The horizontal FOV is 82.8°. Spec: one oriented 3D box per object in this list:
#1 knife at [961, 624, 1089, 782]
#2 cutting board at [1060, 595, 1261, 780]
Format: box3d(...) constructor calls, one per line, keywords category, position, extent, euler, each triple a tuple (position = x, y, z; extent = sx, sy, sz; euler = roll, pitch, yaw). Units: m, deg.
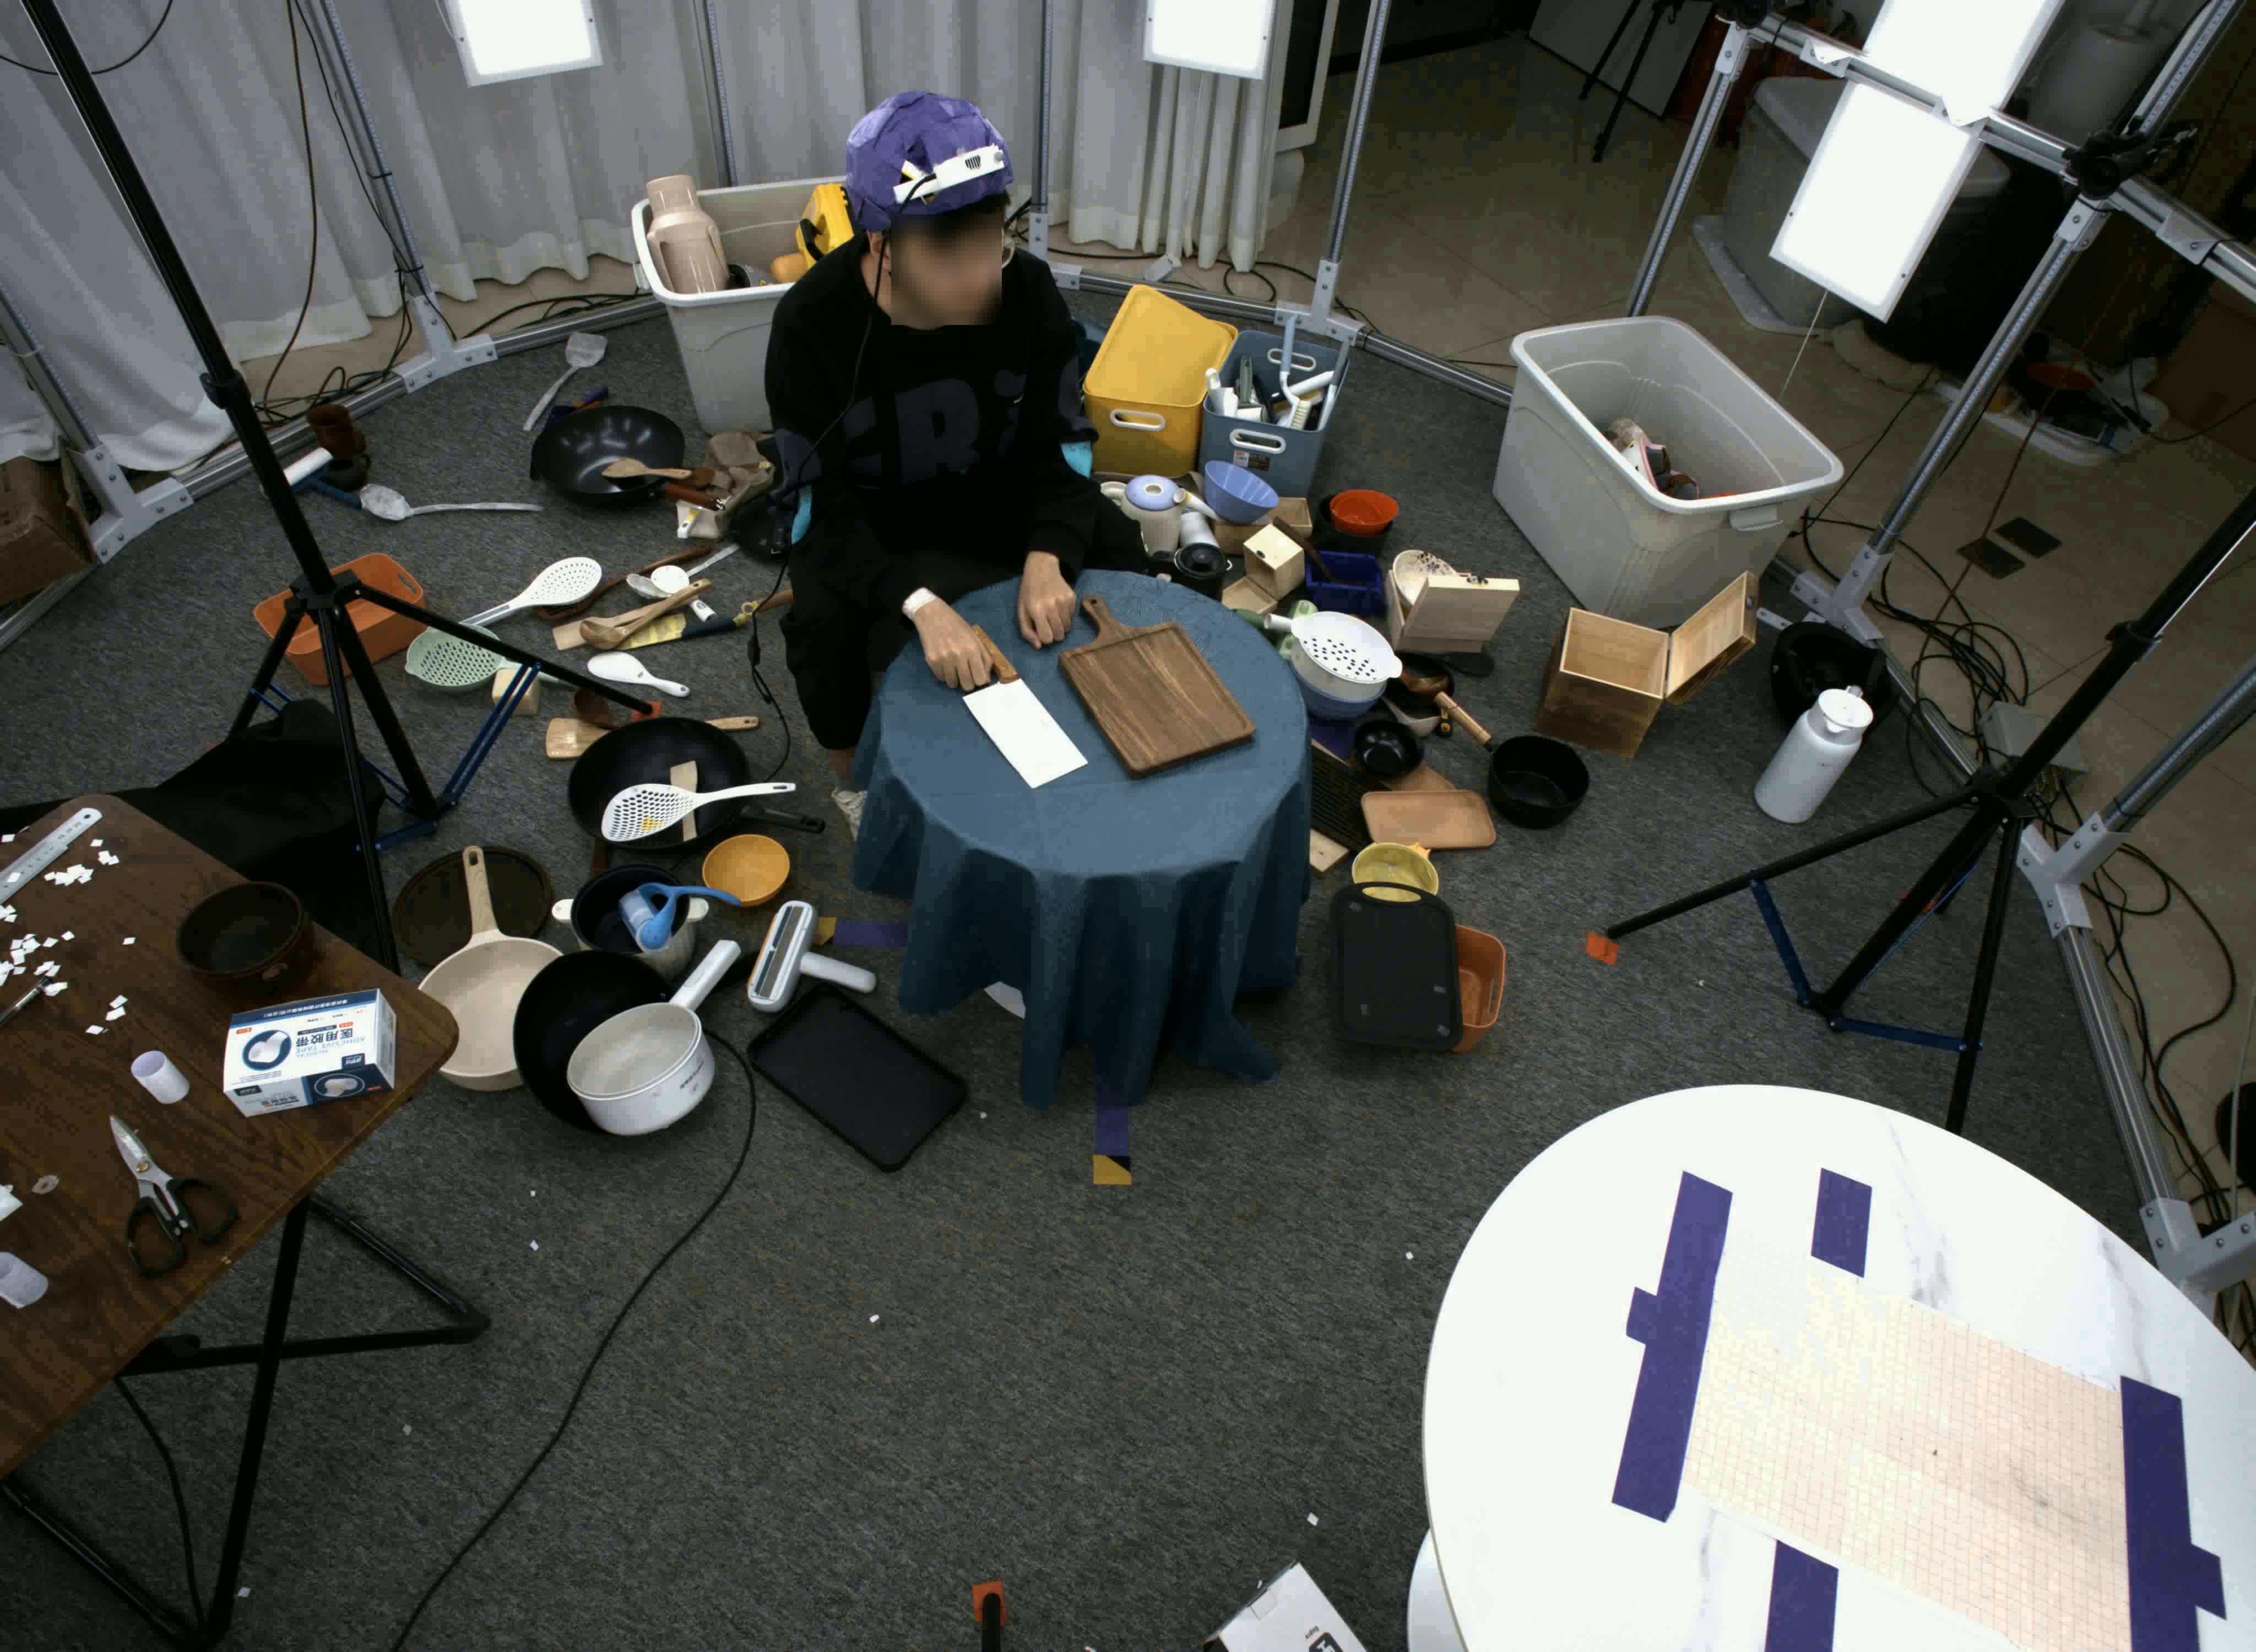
box3d(category="knife", position=(-0.169, -0.173, 1.797), extent=(0.093, 0.020, 0.312), euler=(-25, 57, -22))
box3d(category="cutting board", position=(0.021, -0.218, 1.847), extent=(0.201, 0.022, 0.360), euler=(-19, 53, -19))
